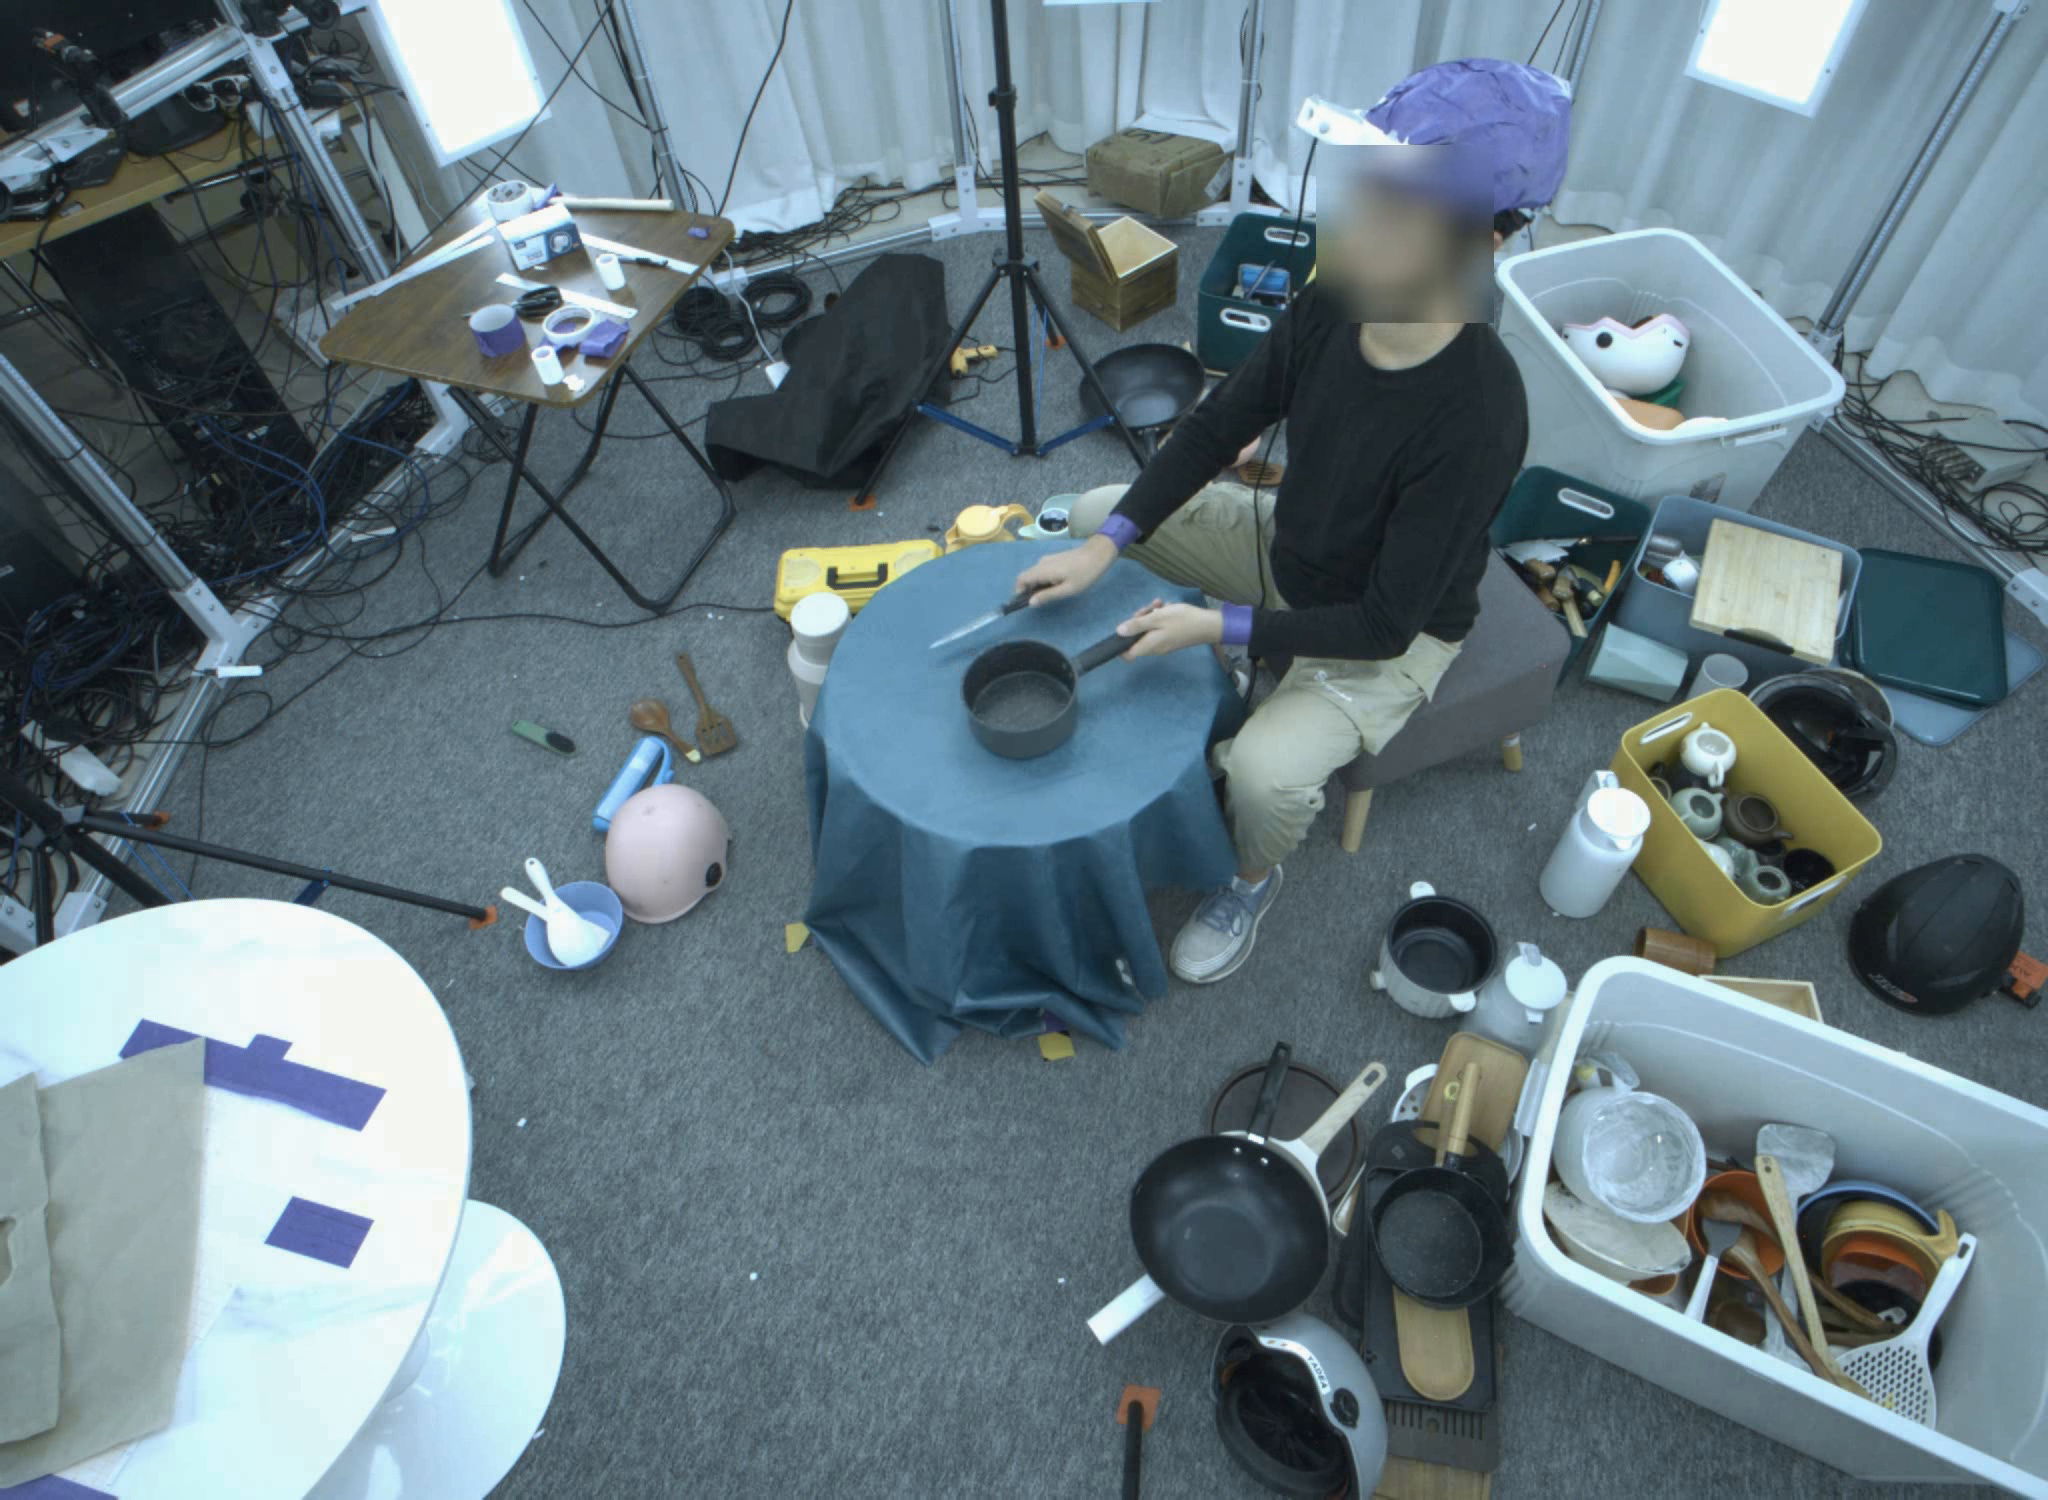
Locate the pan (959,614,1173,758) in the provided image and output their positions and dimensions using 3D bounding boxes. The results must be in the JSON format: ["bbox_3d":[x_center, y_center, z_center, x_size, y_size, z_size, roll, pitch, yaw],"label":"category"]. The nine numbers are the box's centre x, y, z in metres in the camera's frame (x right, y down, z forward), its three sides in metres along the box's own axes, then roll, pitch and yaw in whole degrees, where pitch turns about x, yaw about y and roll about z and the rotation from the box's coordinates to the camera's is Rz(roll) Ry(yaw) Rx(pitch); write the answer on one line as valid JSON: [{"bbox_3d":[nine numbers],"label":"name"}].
[{"bbox_3d":[0.066,-0.107,1.798,0.330,0.087,0.169,-23,57,-10],"label":"pan"}]

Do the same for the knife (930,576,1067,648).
[{"bbox_3d":[-0.041,-0.211,1.884,0.239,0.016,0.024,-28,41,-12],"label":"knife"}]
